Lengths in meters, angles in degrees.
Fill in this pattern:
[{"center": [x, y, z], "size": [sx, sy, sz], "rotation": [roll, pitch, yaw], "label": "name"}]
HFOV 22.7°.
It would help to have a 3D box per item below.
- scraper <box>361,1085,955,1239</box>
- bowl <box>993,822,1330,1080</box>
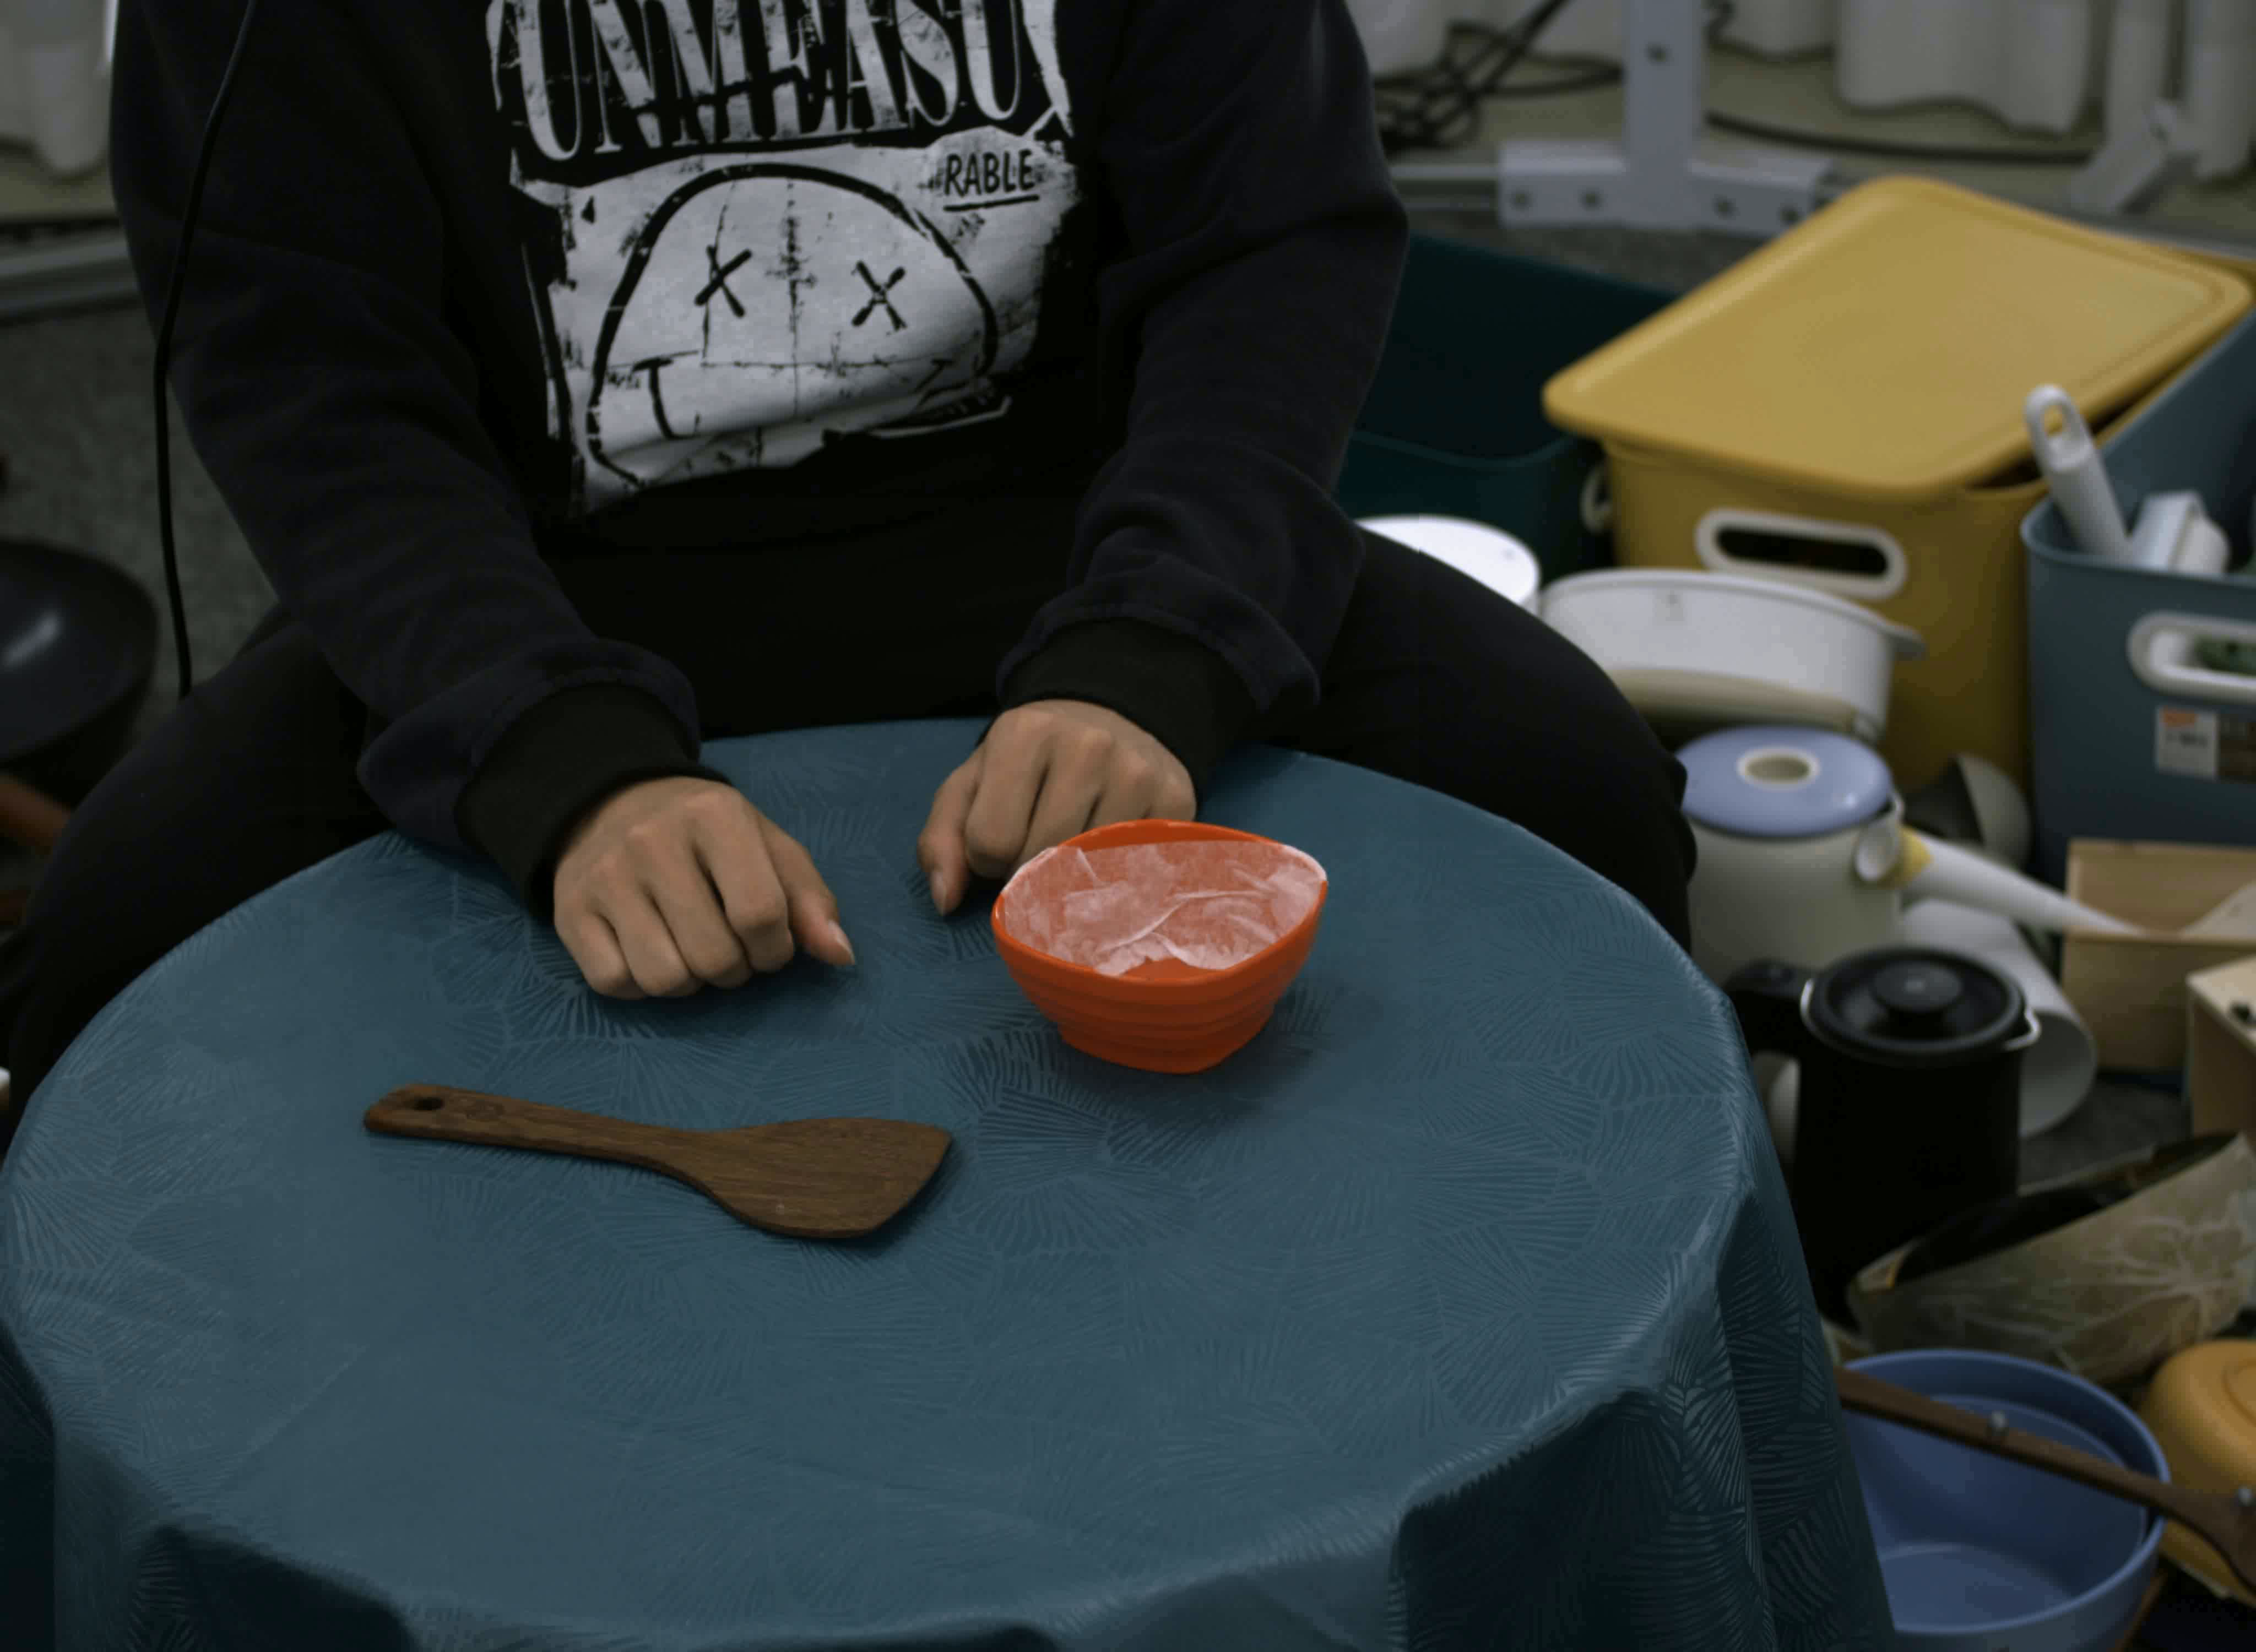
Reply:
[{"center": [-0.162, 0.109, 1.894], "size": [0.210, 0.011, 0.077], "rotation": [7, 28, 20], "label": "scraper"}, {"center": [0.013, 0.047, 1.951], "size": [0.118, 0.051, 0.121], "rotation": [-3, 28, 2], "label": "bowl"}]
